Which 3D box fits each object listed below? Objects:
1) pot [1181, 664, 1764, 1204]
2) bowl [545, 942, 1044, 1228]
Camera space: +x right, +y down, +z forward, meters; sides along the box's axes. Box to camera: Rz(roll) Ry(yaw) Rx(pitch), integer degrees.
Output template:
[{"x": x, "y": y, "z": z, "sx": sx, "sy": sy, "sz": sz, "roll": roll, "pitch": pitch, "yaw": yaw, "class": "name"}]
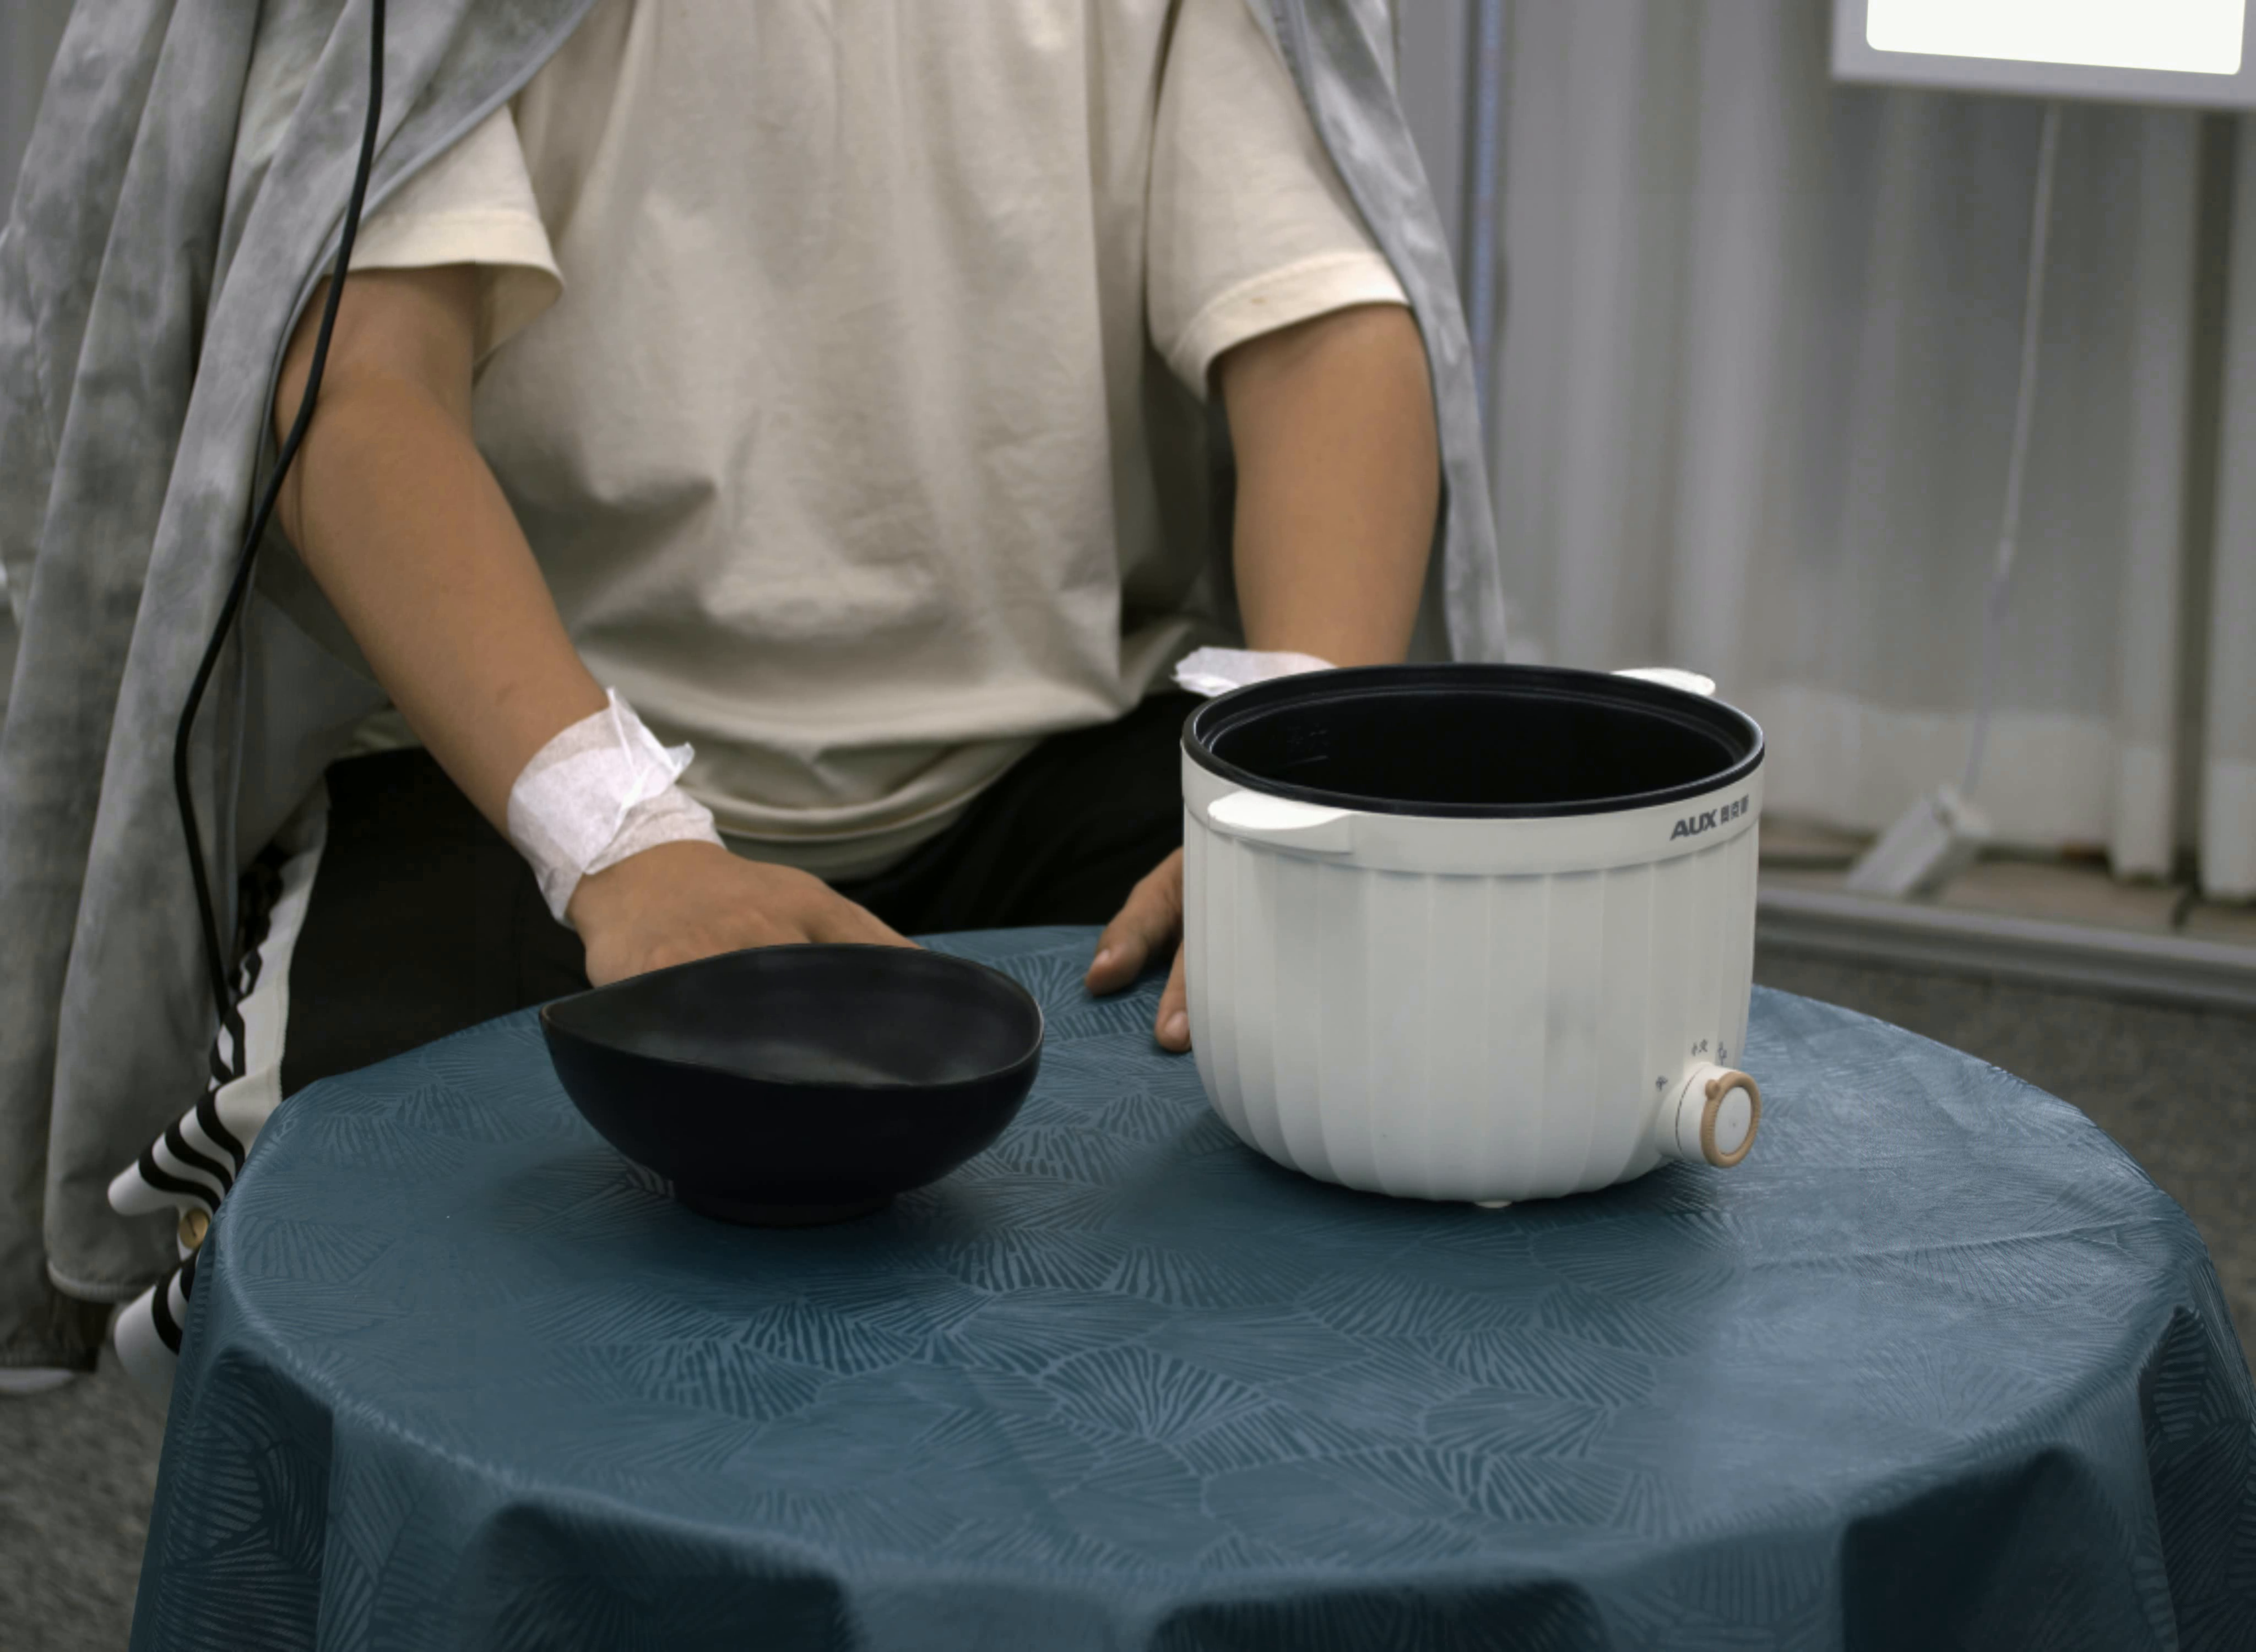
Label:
[{"x": 0.112, "y": 0.035, "z": 1.650, "sx": 0.188, "sy": 0.144, "sz": 0.241, "roll": 8, "pitch": 18, "yaw": 37, "class": "pot"}, {"x": -0.104, "y": 0.083, "z": 1.608, "sx": 0.168, "sy": 0.067, "sz": 0.138, "roll": 11, "pitch": 18, "yaw": 36, "class": "bowl"}]
